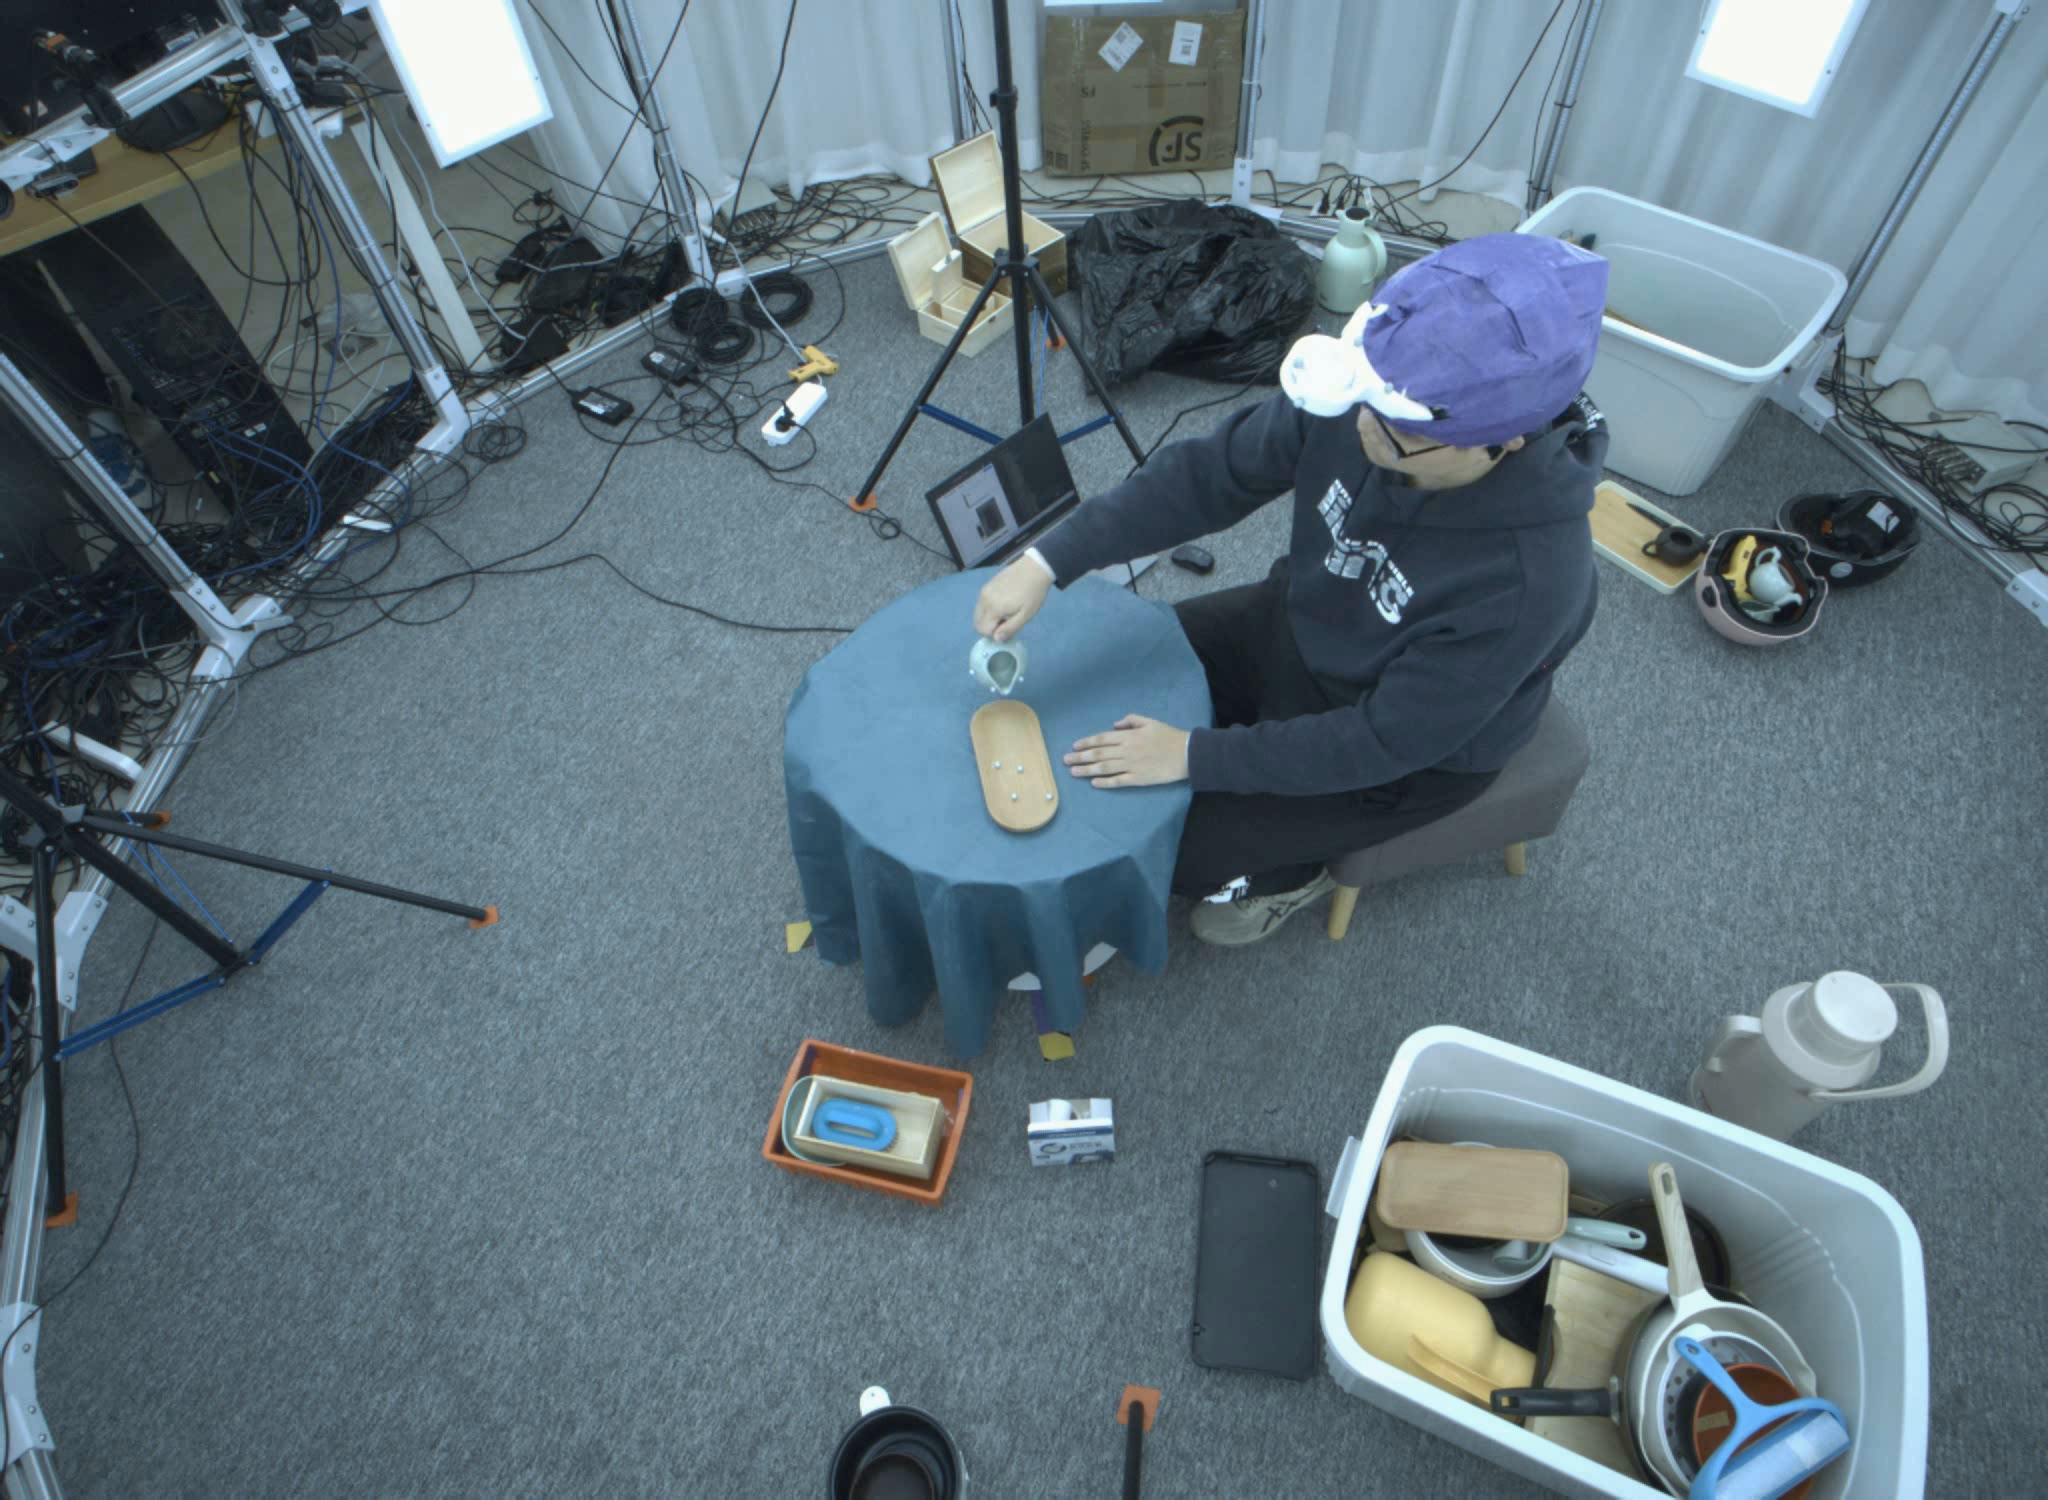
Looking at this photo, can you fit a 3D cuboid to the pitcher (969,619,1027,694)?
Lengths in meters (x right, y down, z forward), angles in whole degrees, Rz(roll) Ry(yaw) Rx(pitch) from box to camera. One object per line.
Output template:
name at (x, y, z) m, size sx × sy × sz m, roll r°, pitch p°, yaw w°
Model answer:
pitcher at (-0.038, -0.138, 1.772) m, size 0.086 × 0.109 × 0.059 m, roll -13°, pitch 22°, yaw -8°

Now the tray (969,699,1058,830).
tray at (-0.016, 0.018, 1.766) m, size 0.102 × 0.020 × 0.227 m, roll -10°, pitch 53°, yaw -7°
